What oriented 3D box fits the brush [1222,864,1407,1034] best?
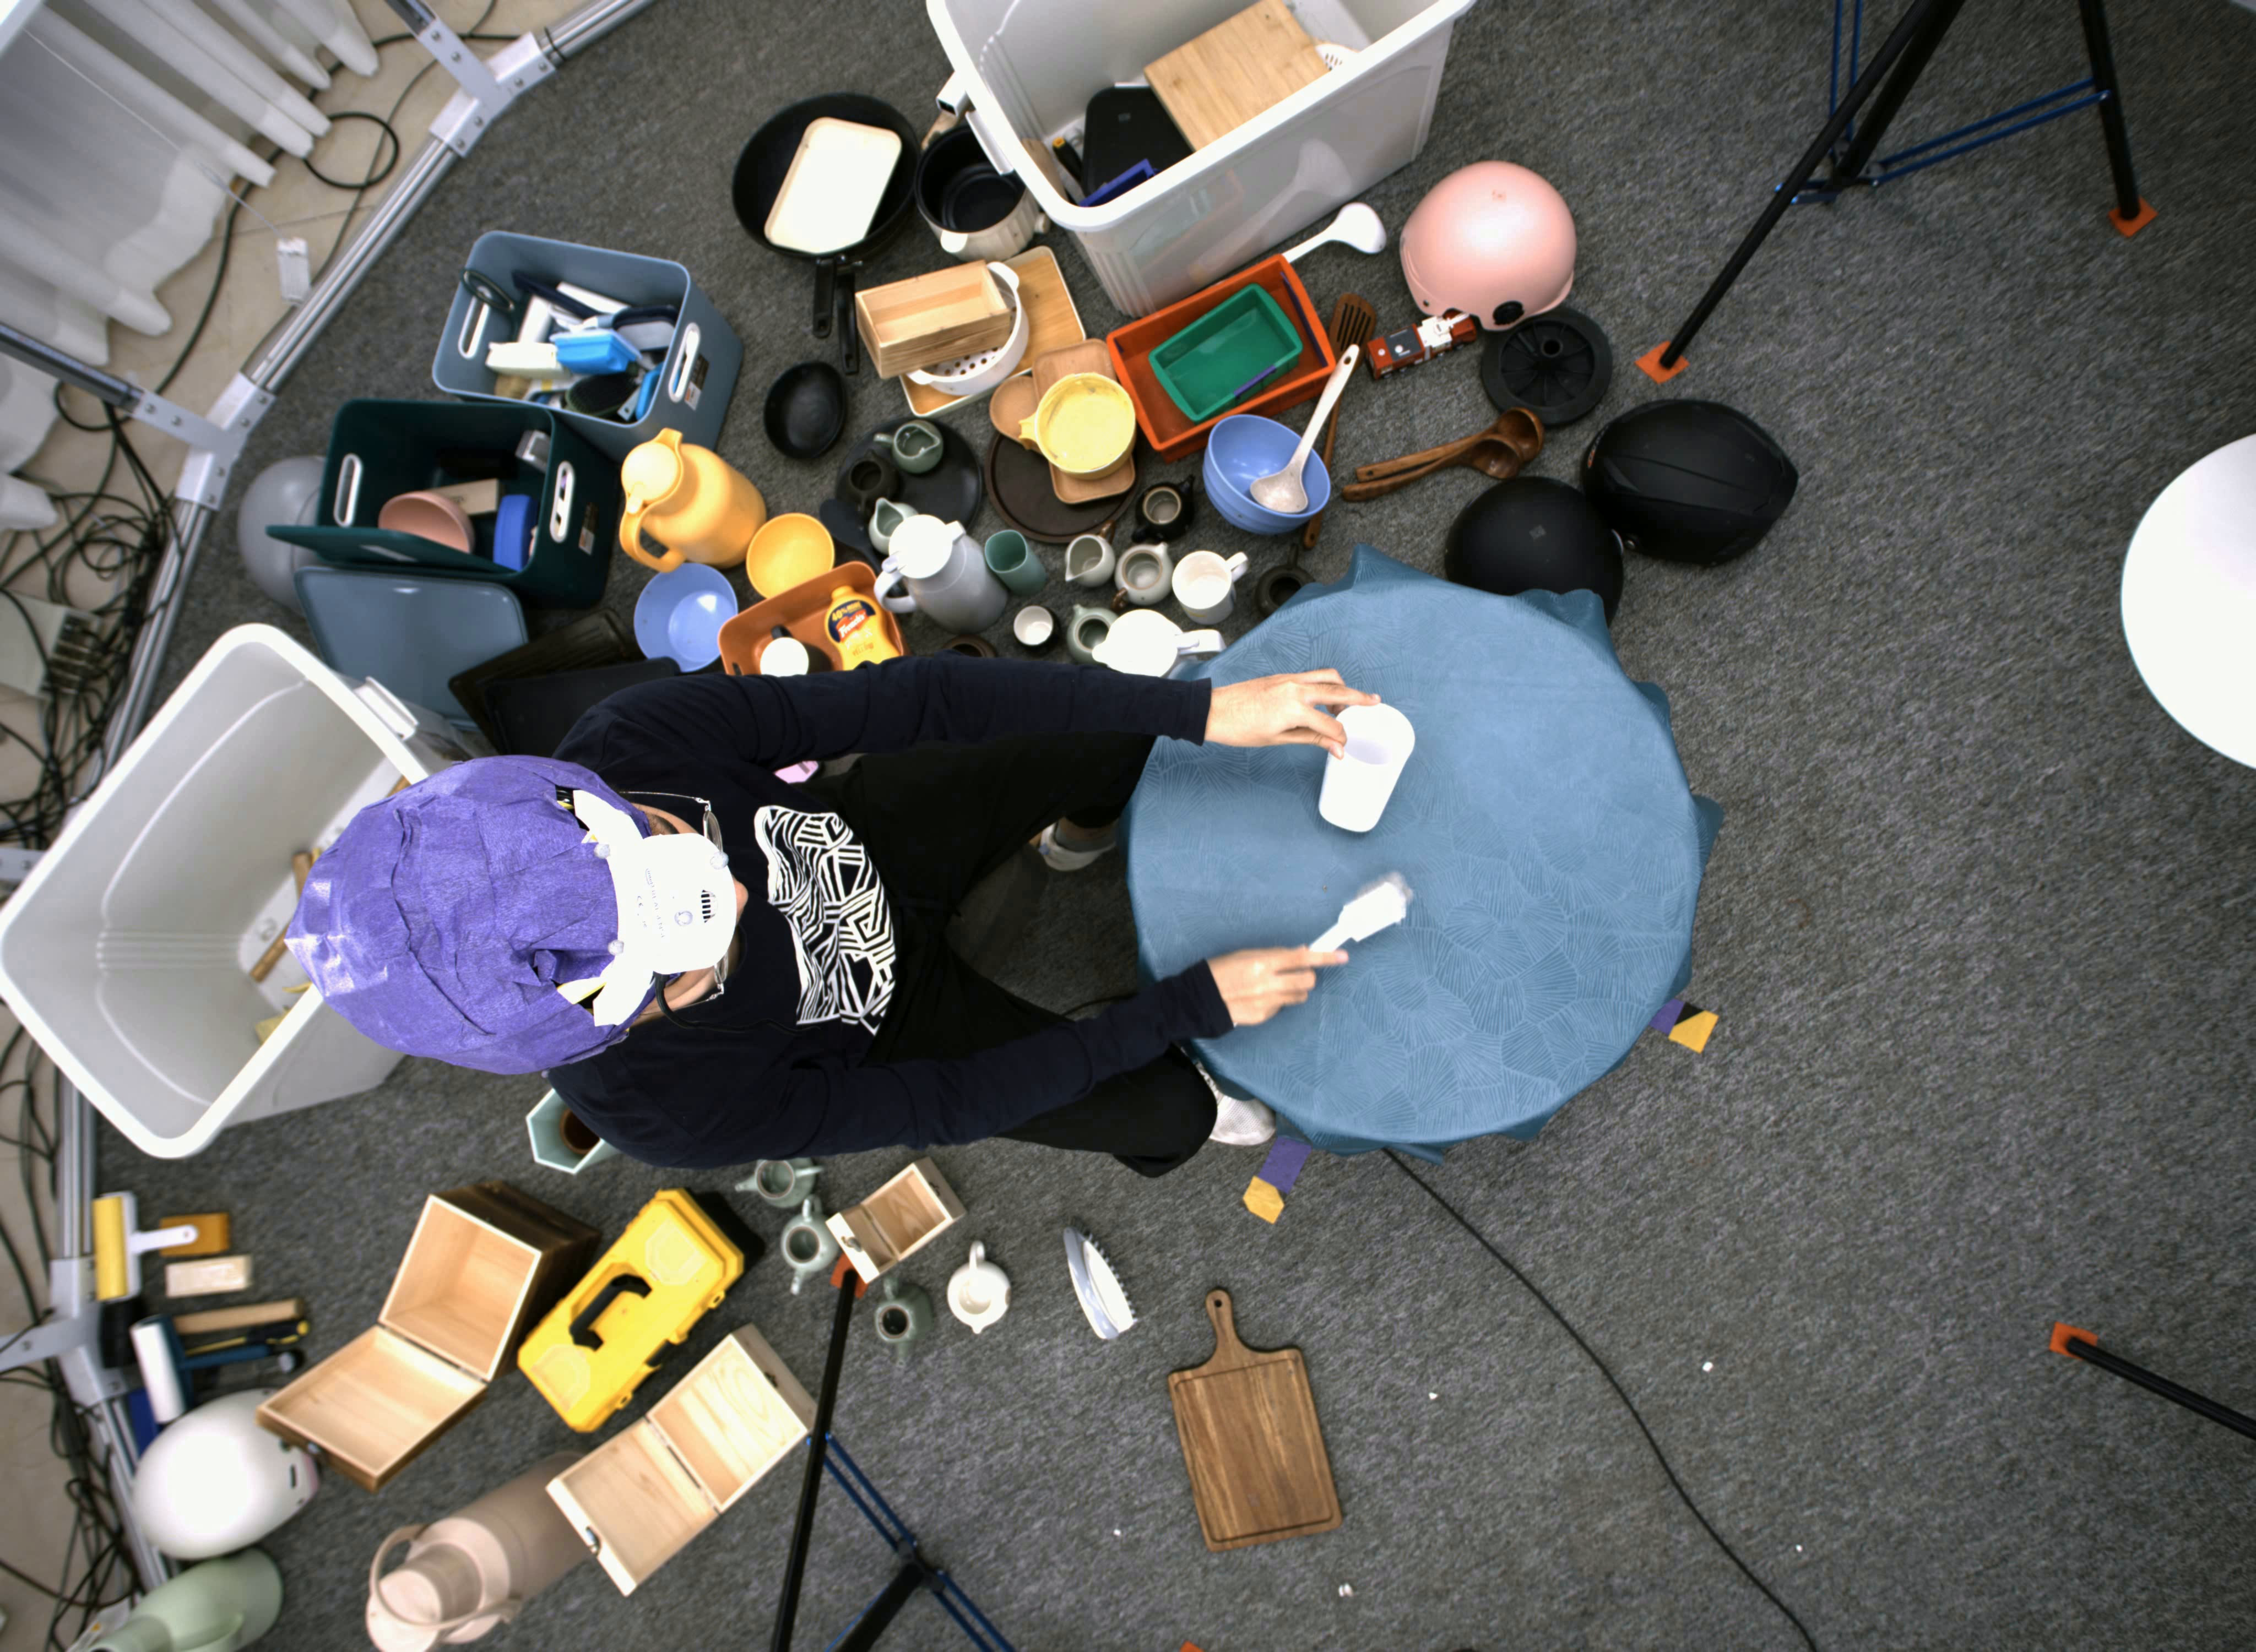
[{"bbox_3d":[0.189,0.126,1.430,0.034,0.049,0.247,43,110,-8],"label":"brush"}]

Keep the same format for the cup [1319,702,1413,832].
[{"bbox_3d":[0.237,-0.058,1.401,0.082,0.128,0.080,0,59,-1],"label":"cup"}]
